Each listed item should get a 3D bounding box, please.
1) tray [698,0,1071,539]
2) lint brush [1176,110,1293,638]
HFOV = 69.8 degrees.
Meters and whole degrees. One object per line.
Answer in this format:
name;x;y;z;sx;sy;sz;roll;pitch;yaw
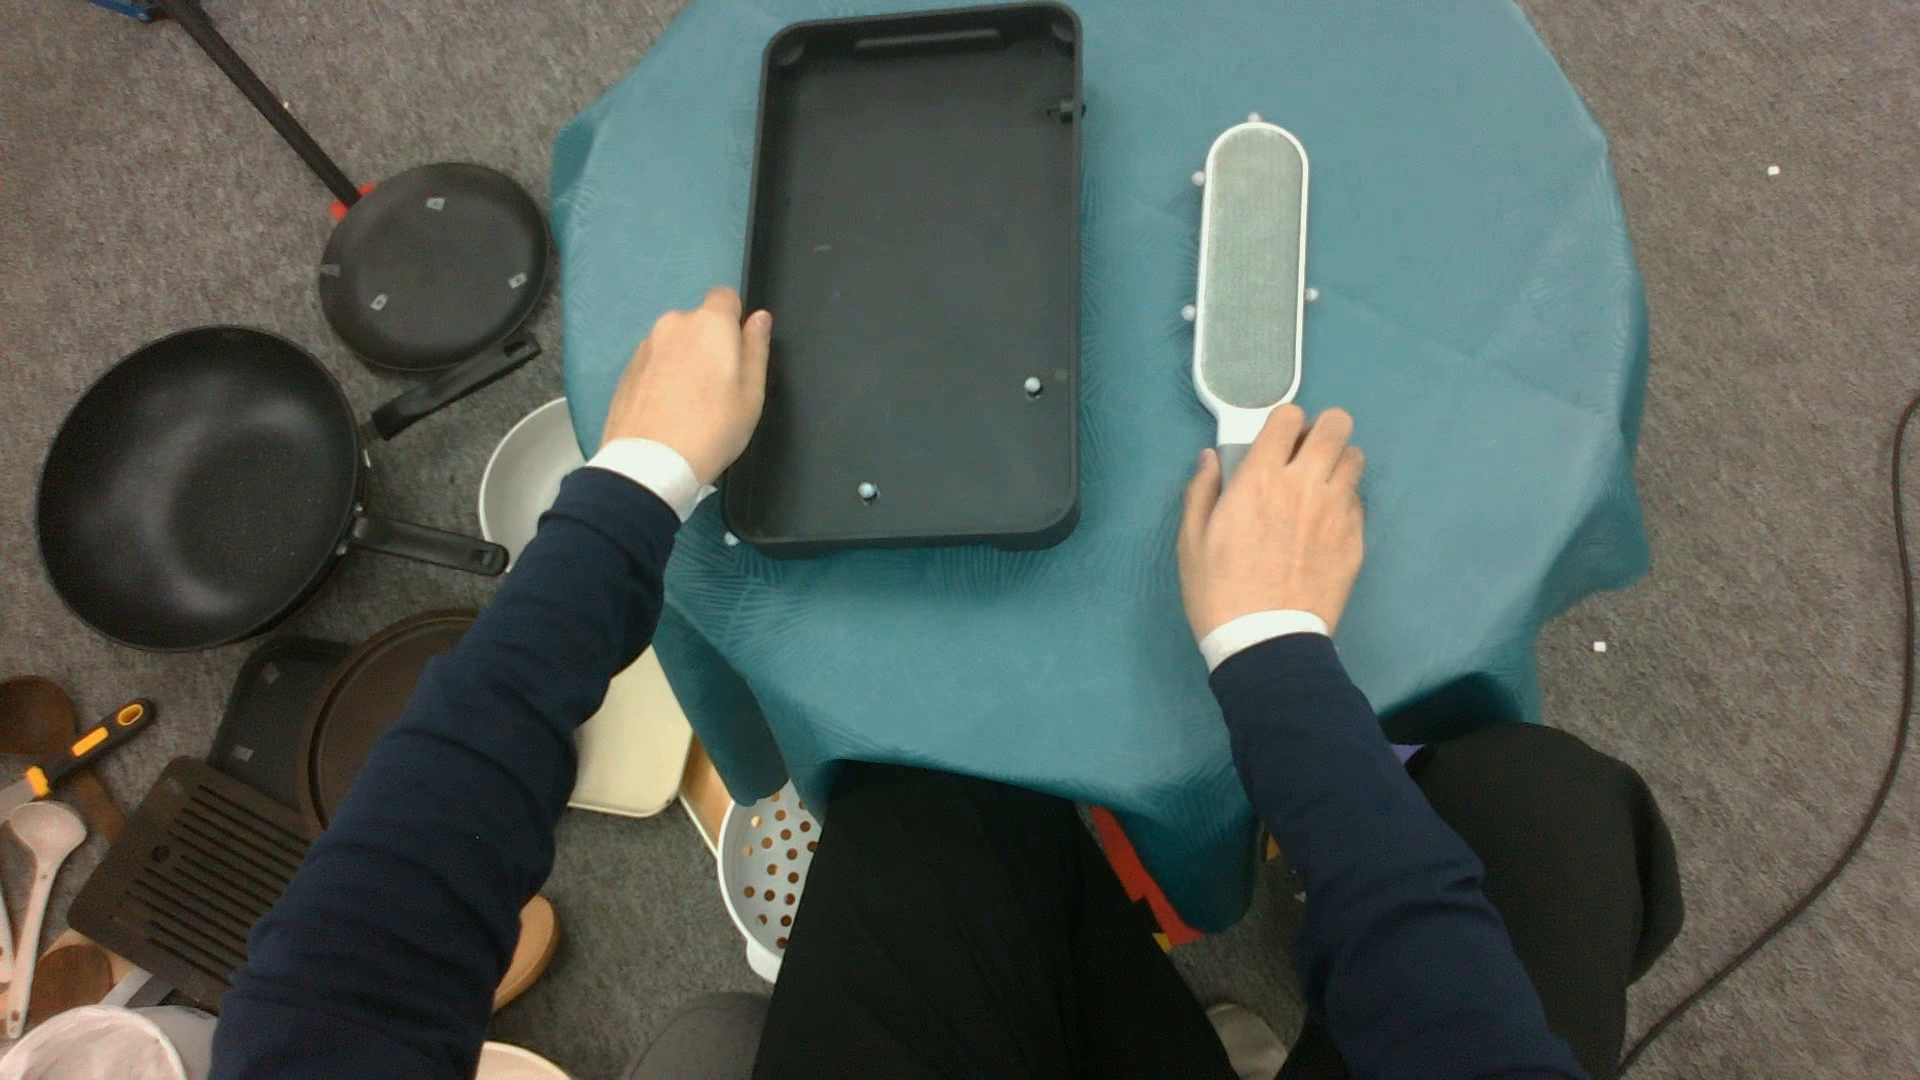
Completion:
tray;-0.034;-0.154;0.740;0.184;0.037;0.319;-1;70;12
lint brush;0.144;-0.097;0.733;0.060;0.021;0.310;8;71;-3
